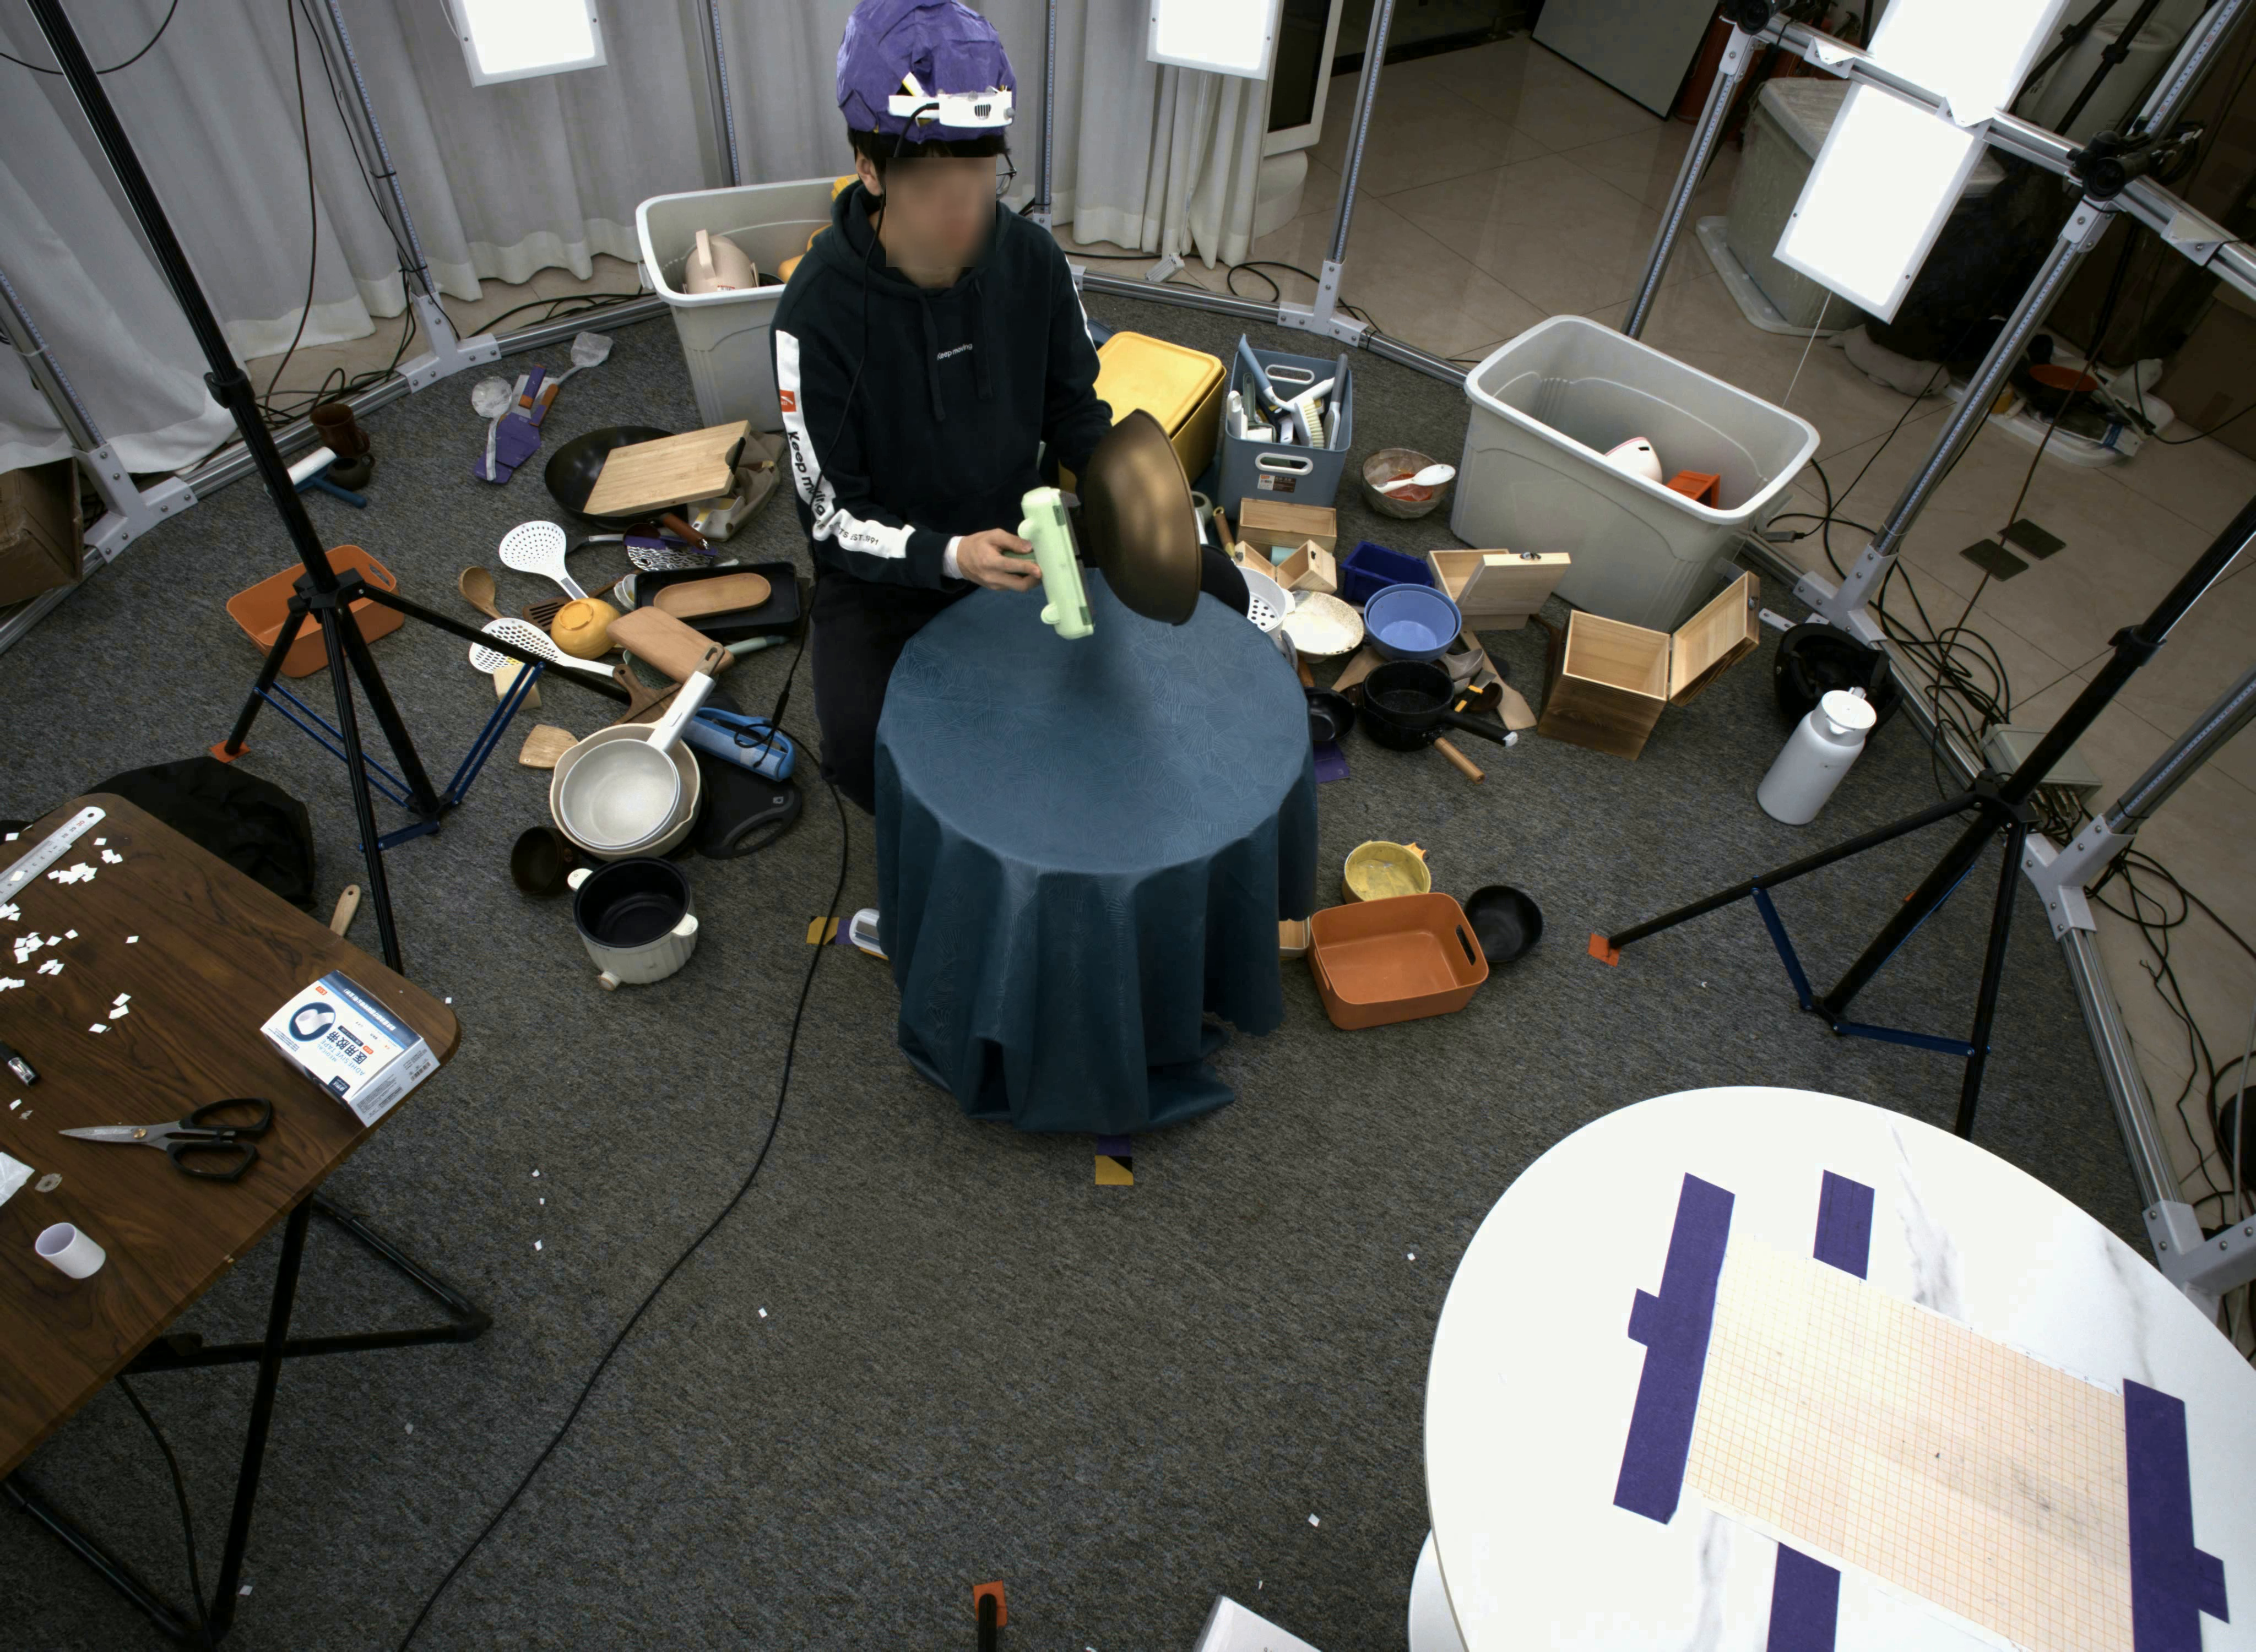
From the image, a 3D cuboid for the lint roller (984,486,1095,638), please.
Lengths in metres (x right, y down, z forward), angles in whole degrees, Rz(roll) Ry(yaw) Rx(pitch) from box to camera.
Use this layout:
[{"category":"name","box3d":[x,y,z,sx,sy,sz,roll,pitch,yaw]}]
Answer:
[{"category":"lint roller","box3d":[-0.139,-0.345,1.713,0.184,0.195,0.083,5,32,37]}]

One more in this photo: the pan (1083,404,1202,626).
[{"category":"pan","box3d":[-0.023,-0.416,1.767,0.087,0.285,0.469,-14,16,-15]}]
